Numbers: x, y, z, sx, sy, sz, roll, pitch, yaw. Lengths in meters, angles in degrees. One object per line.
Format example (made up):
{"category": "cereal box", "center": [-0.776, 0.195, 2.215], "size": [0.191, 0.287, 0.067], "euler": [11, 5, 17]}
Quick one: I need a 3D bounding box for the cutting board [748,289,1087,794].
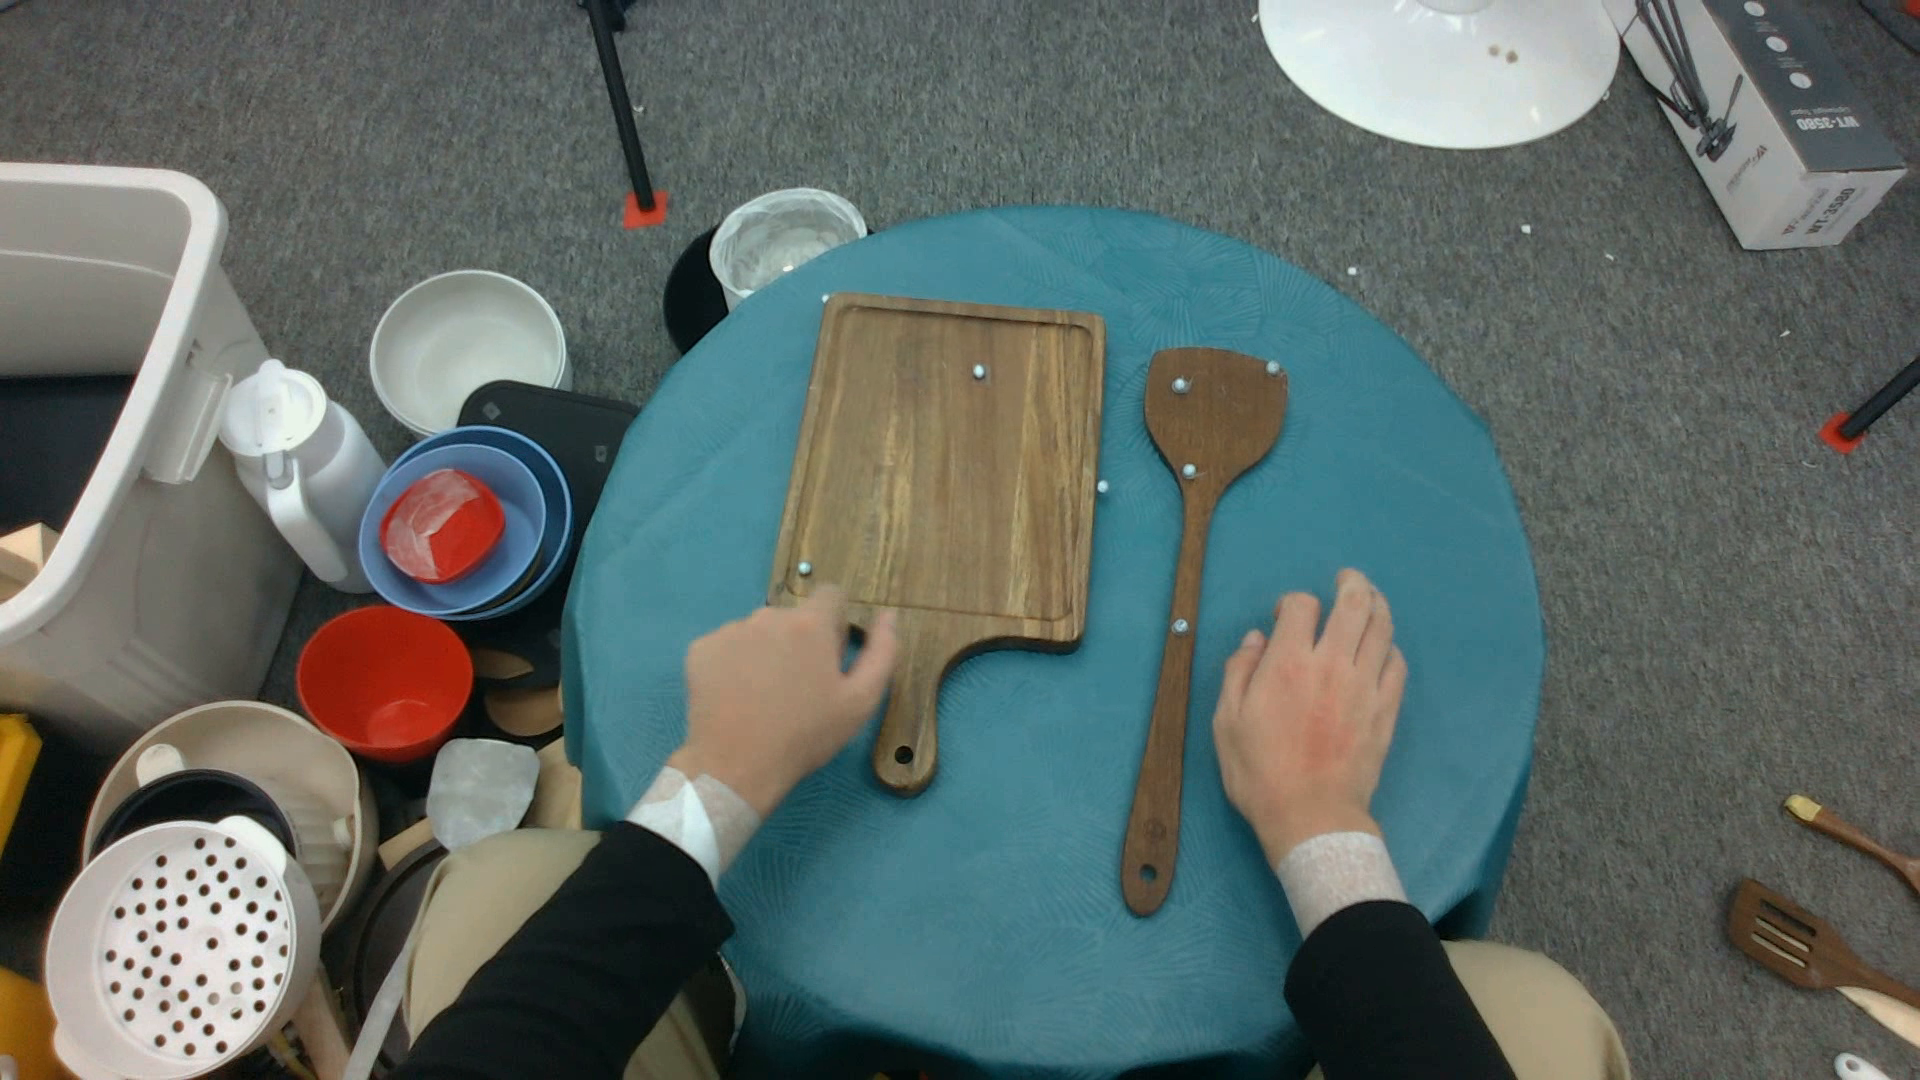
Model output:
{"category": "cutting board", "center": [-0.025, -0.012, 0.866], "size": [0.201, 0.023, 0.353], "euler": [5, 61, 2]}

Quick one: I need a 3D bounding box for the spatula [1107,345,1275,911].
{"category": "spatula", "center": [0.130, 0.035, 0.846], "size": [0.096, 0.016, 0.387], "euler": [10, 61, 5]}
